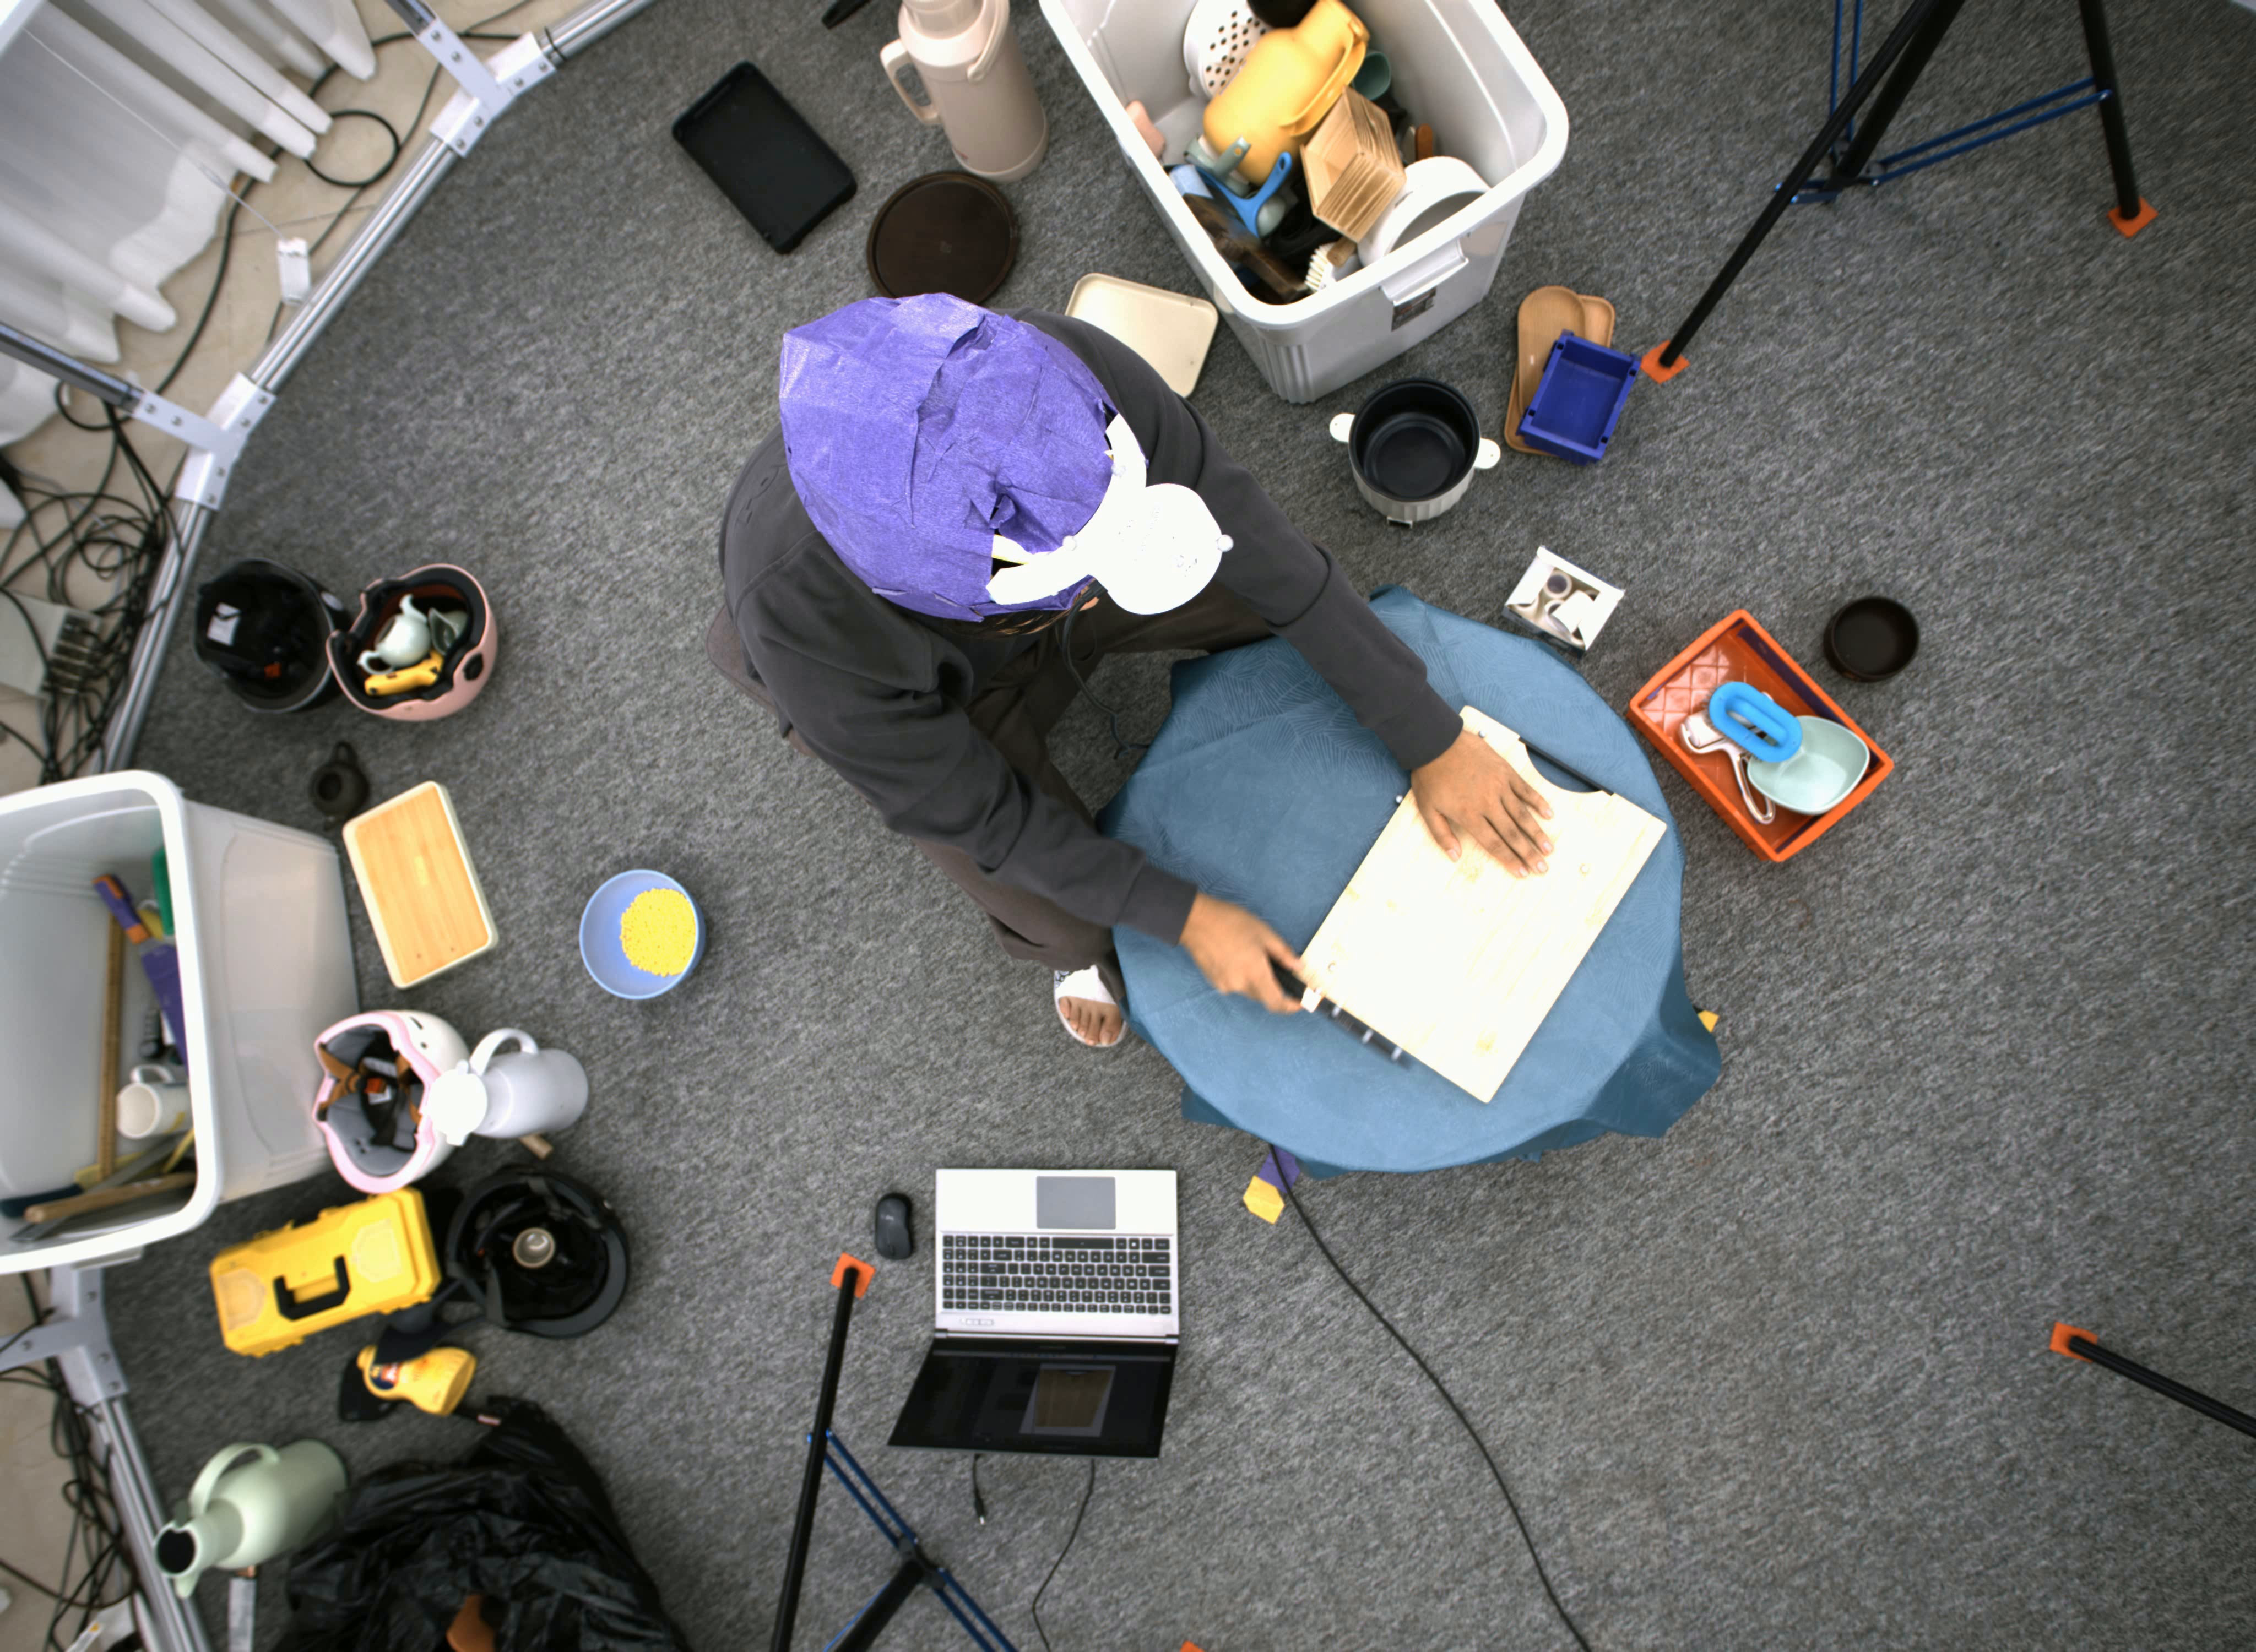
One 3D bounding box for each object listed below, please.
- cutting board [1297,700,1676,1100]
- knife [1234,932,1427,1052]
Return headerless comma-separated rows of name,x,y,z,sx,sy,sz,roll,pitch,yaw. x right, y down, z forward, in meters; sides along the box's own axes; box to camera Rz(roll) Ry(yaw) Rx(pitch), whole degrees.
cutting board,0.367,0.072,1.434,0.250,0.023,0.349,32,93,11
knife,0.205,0.170,1.410,0.225,0.025,0.018,32,135,15
